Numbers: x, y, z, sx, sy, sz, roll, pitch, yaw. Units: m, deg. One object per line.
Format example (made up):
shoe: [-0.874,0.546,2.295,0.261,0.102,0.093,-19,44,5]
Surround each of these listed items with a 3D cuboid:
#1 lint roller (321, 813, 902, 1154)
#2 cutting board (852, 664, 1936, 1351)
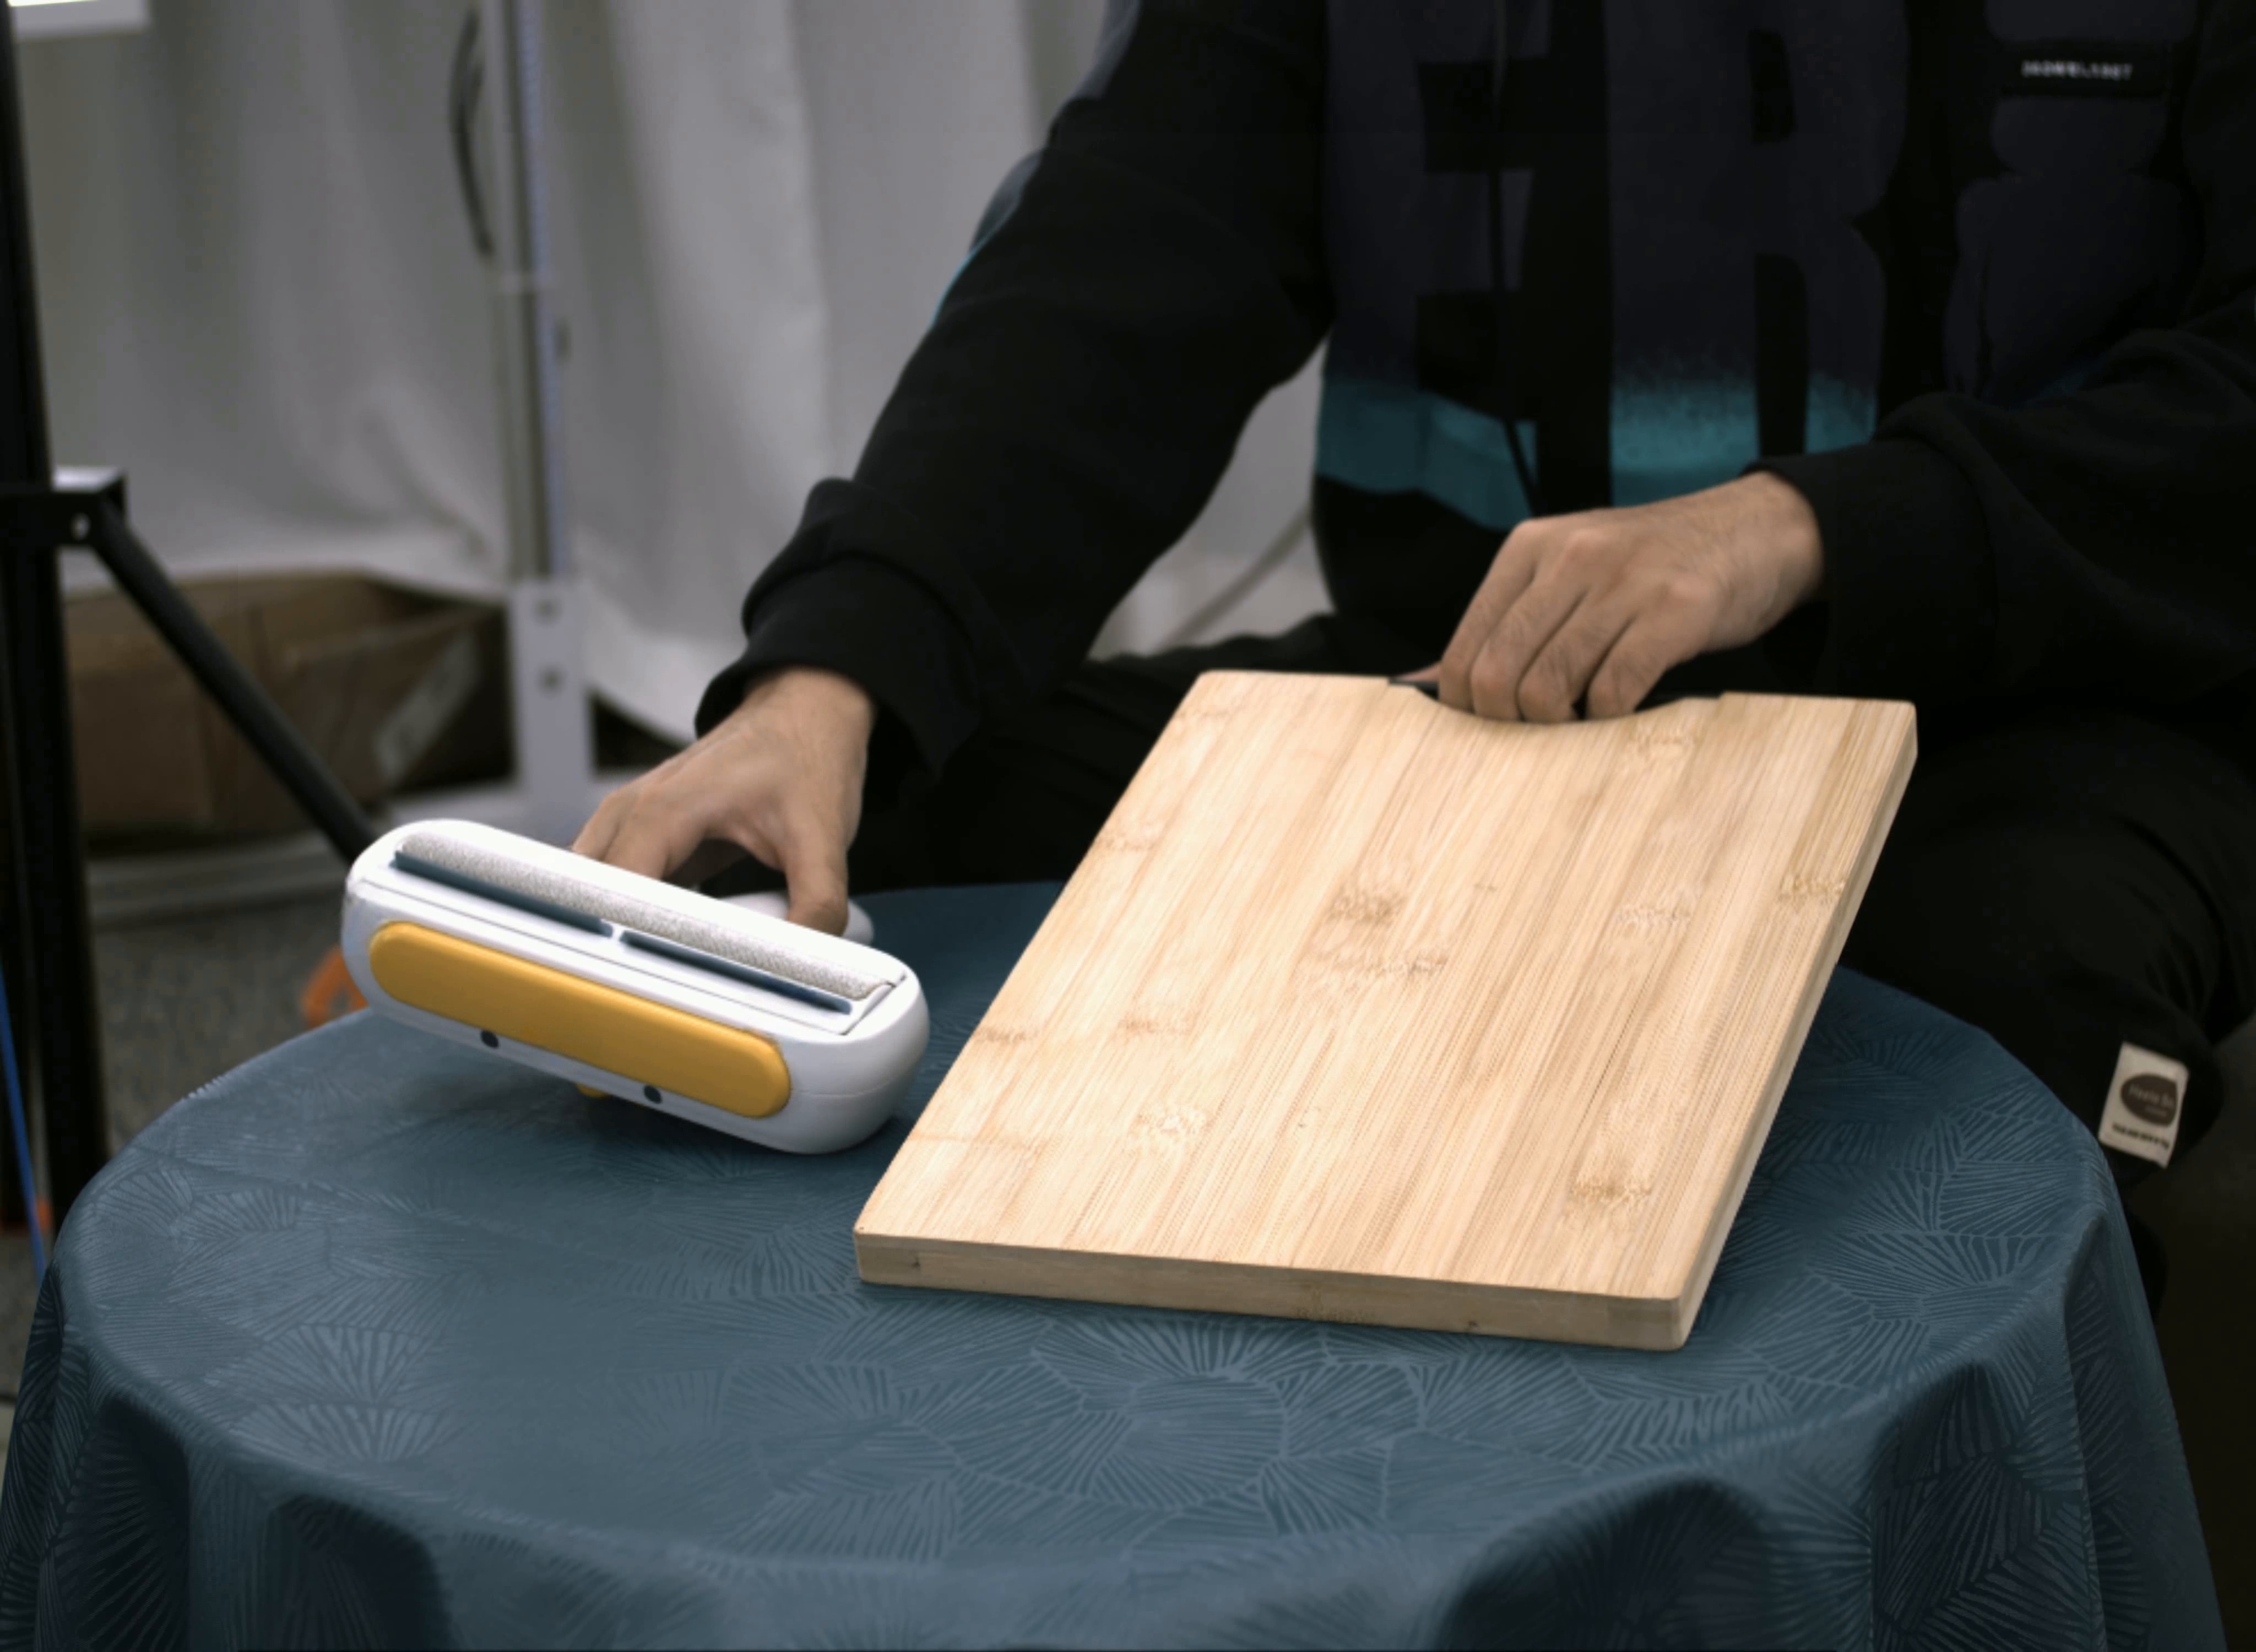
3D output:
lint roller: [-0.134,0.040,1.695,0.196,0.074,0.189,14,21,26]
cutting board: [0.089,0.044,1.593,0.253,0.023,0.347,3,30,19]
